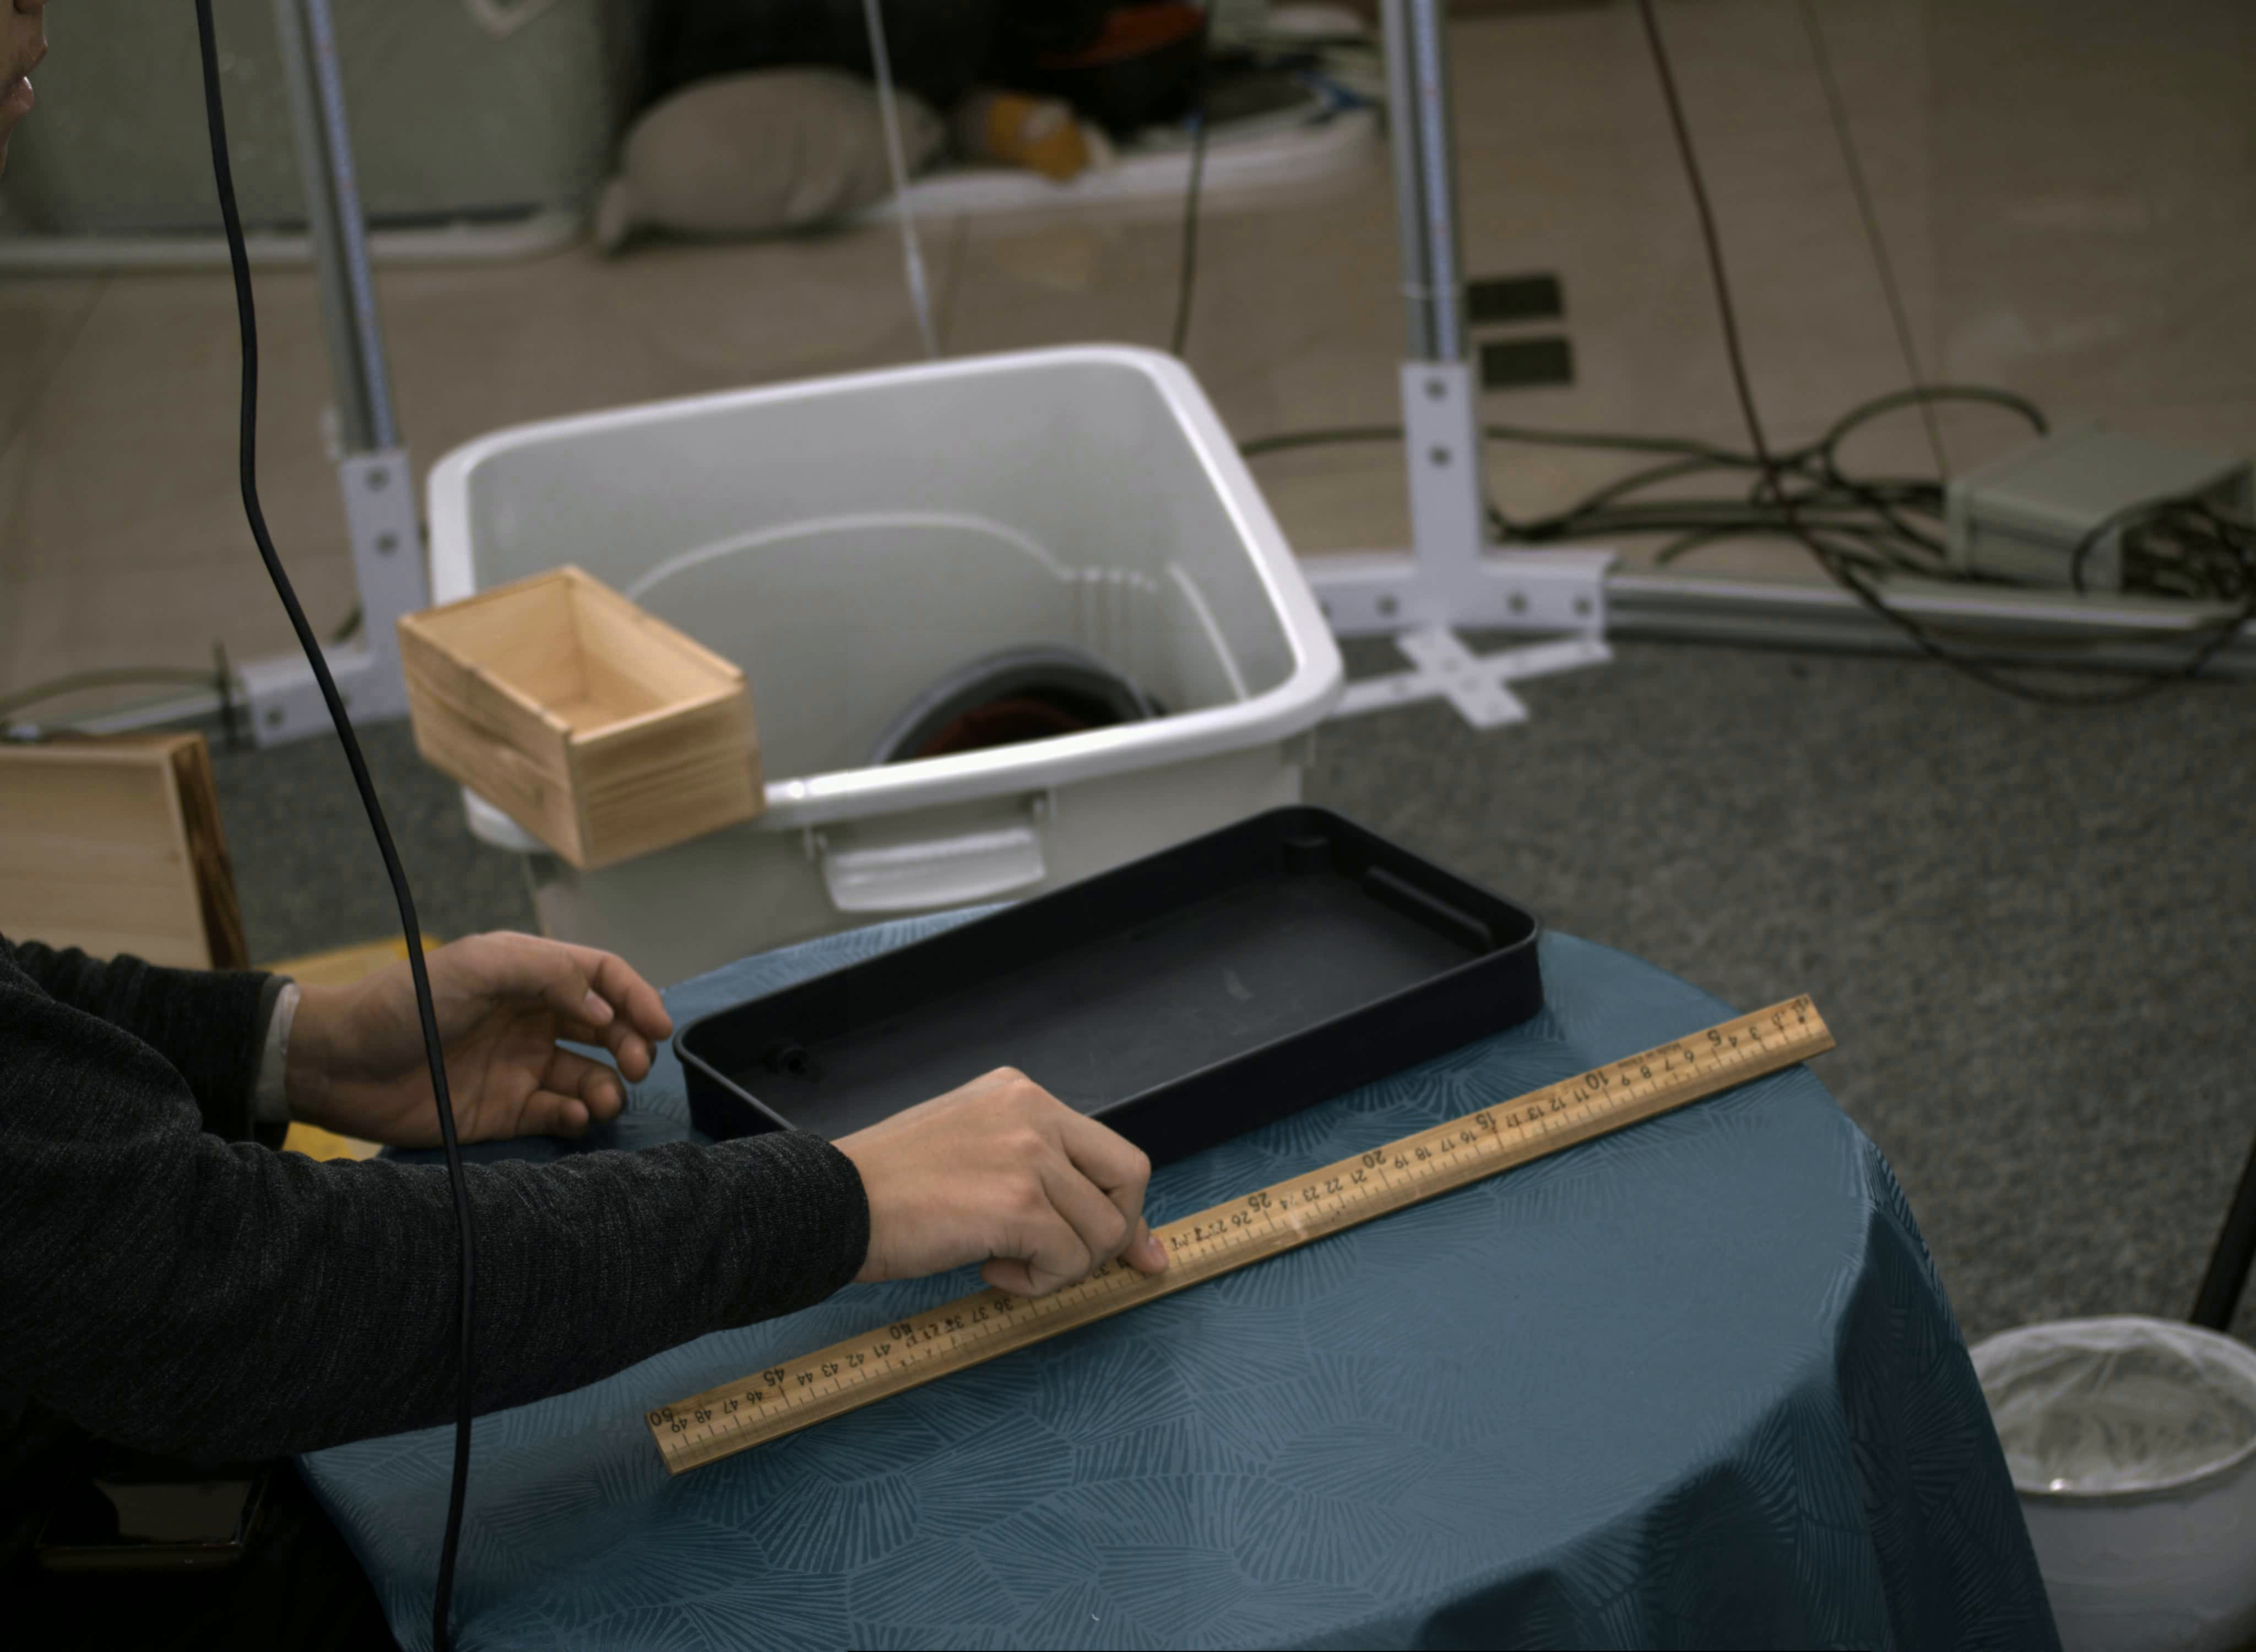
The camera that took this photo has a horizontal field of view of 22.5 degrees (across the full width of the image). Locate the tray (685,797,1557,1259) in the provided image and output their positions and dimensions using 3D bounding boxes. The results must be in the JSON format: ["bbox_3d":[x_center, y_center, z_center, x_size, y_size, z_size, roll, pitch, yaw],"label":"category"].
[{"bbox_3d":[-0.001,0.075,2.243,0.316,0.037,0.182,-21,28,-28],"label":"tray"}]

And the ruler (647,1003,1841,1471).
[{"bbox_3d":[0.052,0.146,2.094,0.498,0.006,0.026,-18,73,-23],"label":"ruler"}]
